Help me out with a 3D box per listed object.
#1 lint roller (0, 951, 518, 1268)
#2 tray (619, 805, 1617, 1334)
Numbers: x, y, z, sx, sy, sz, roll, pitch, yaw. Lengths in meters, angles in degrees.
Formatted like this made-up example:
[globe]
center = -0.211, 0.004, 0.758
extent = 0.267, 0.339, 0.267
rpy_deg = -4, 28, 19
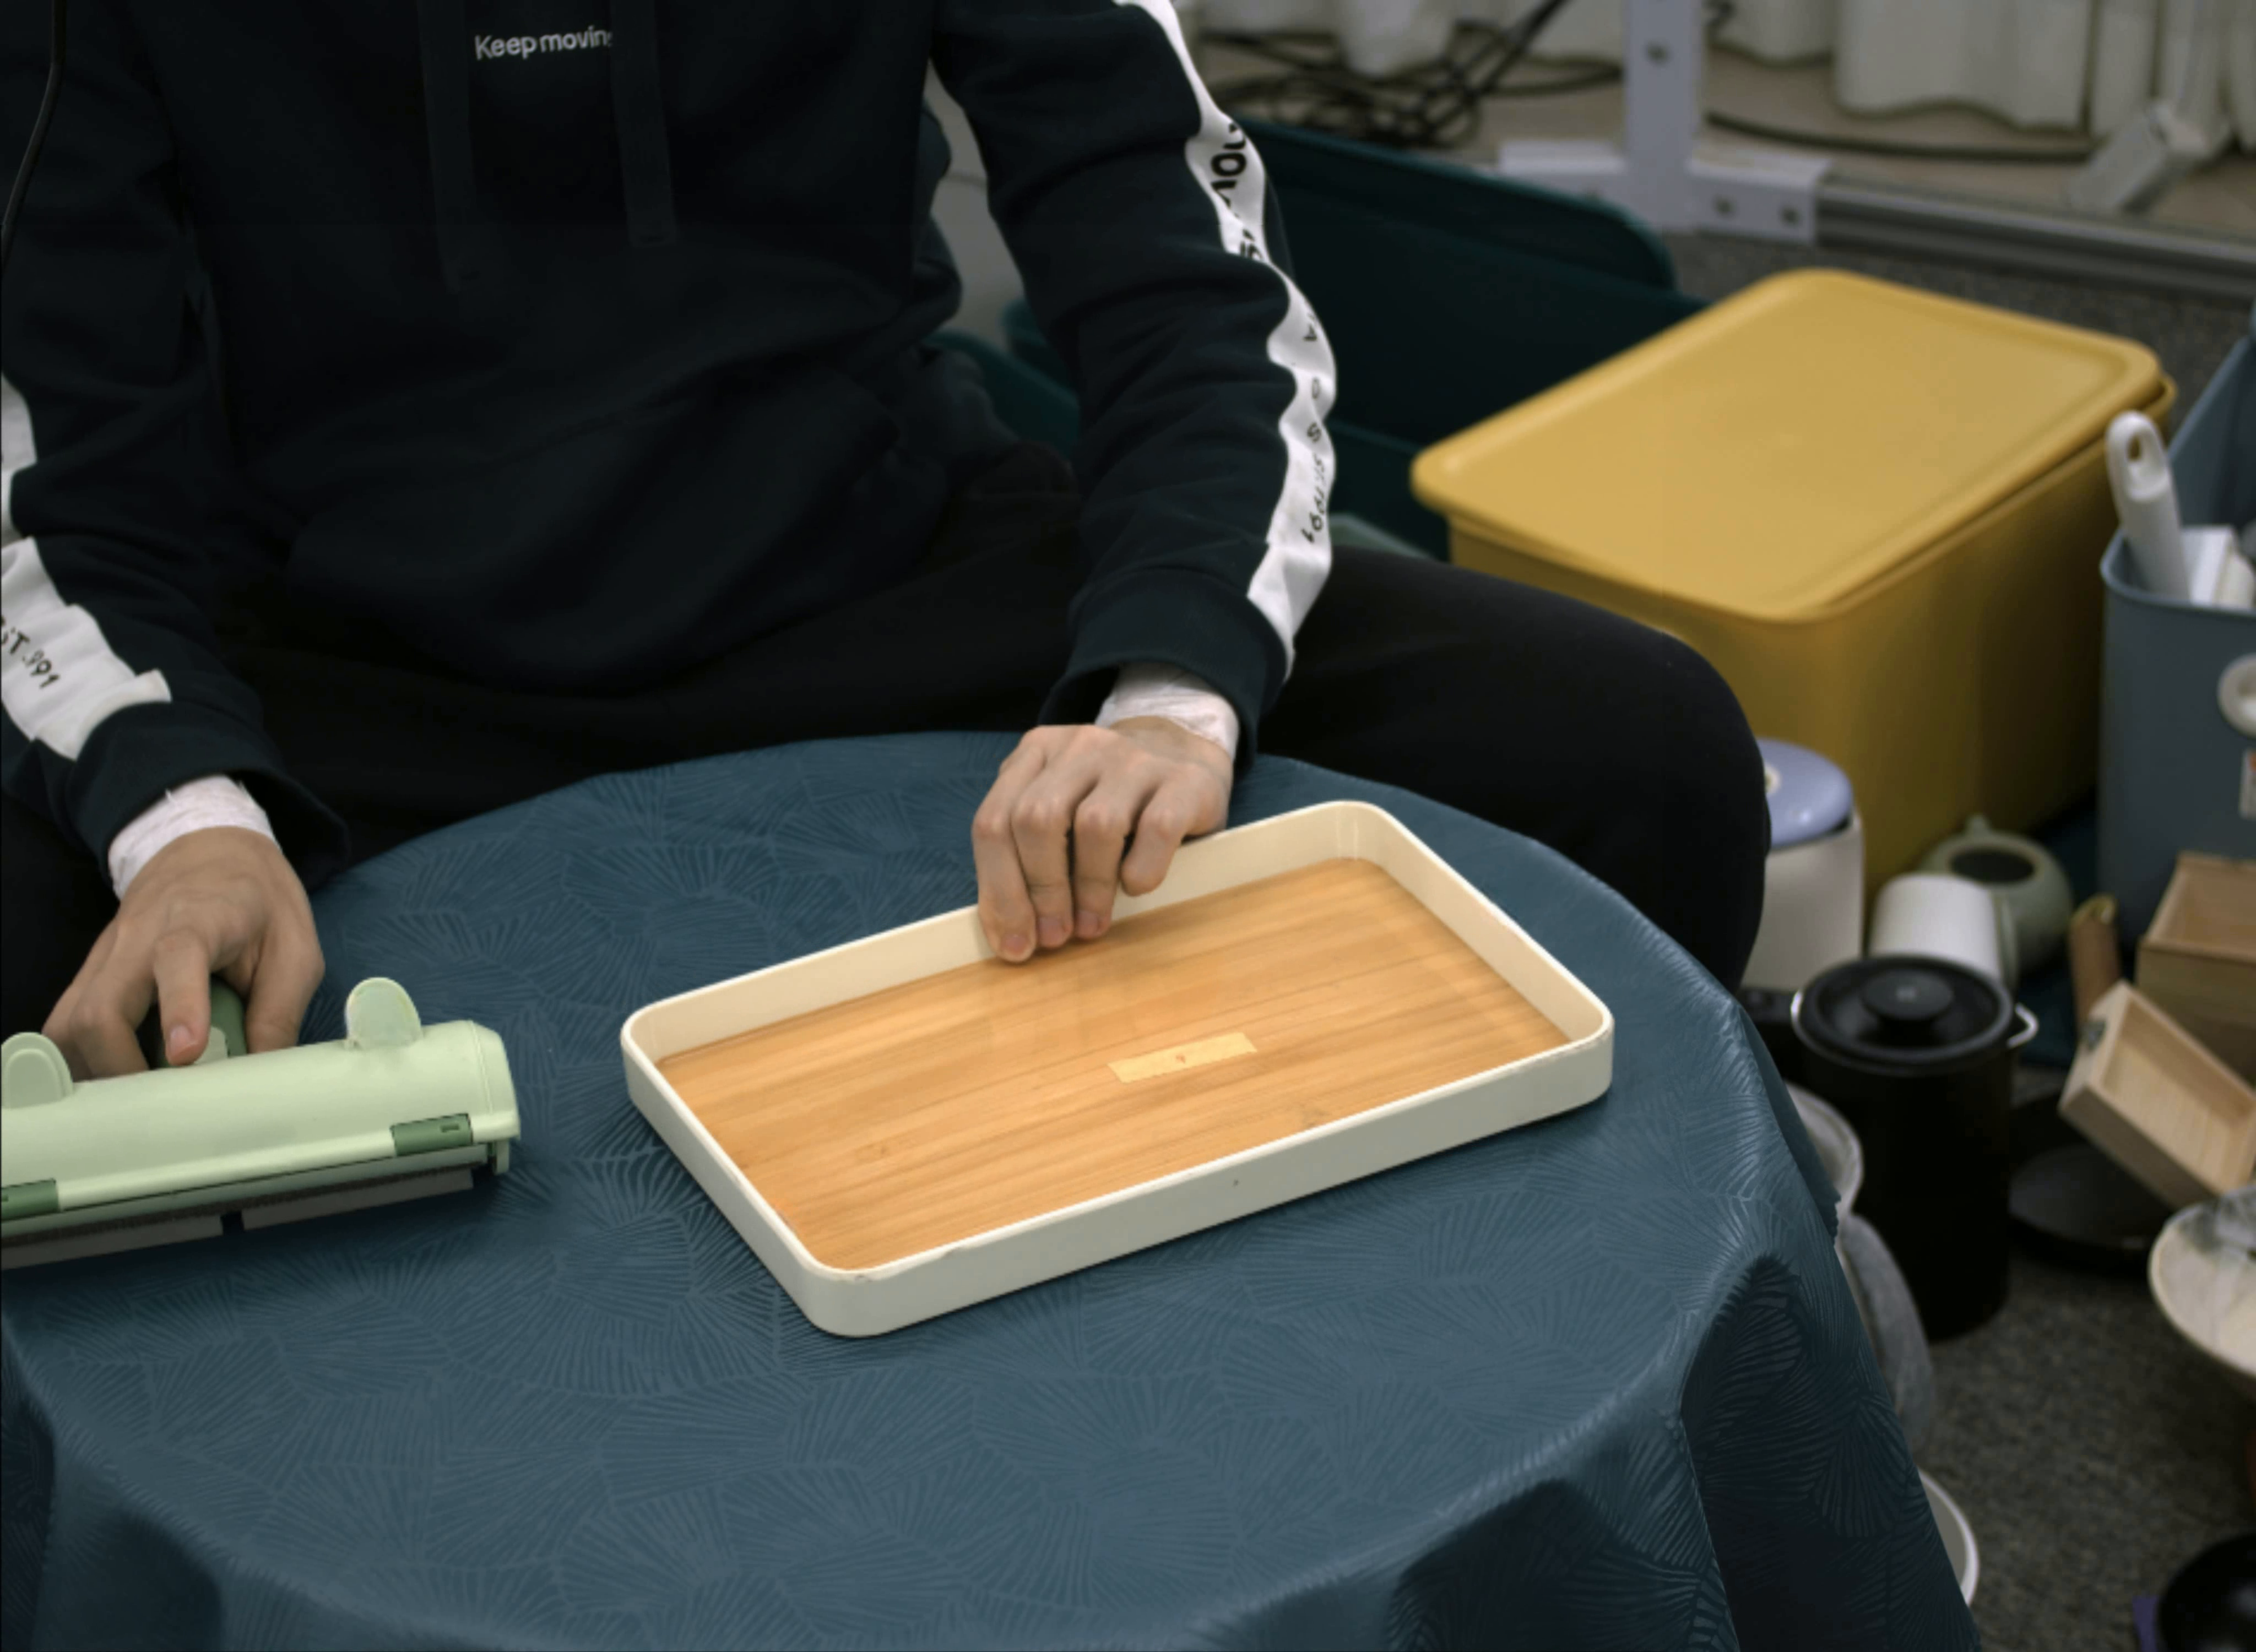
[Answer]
[lint roller]
center = -0.315, 0.072, 1.902
extent = 0.198, 0.081, 0.185
rpy_deg = -9, 32, -12
[tray]
center = -0.004, 0.078, 1.907
extent = 0.302, 0.027, 0.193
rpy_deg = -16, 31, -23
